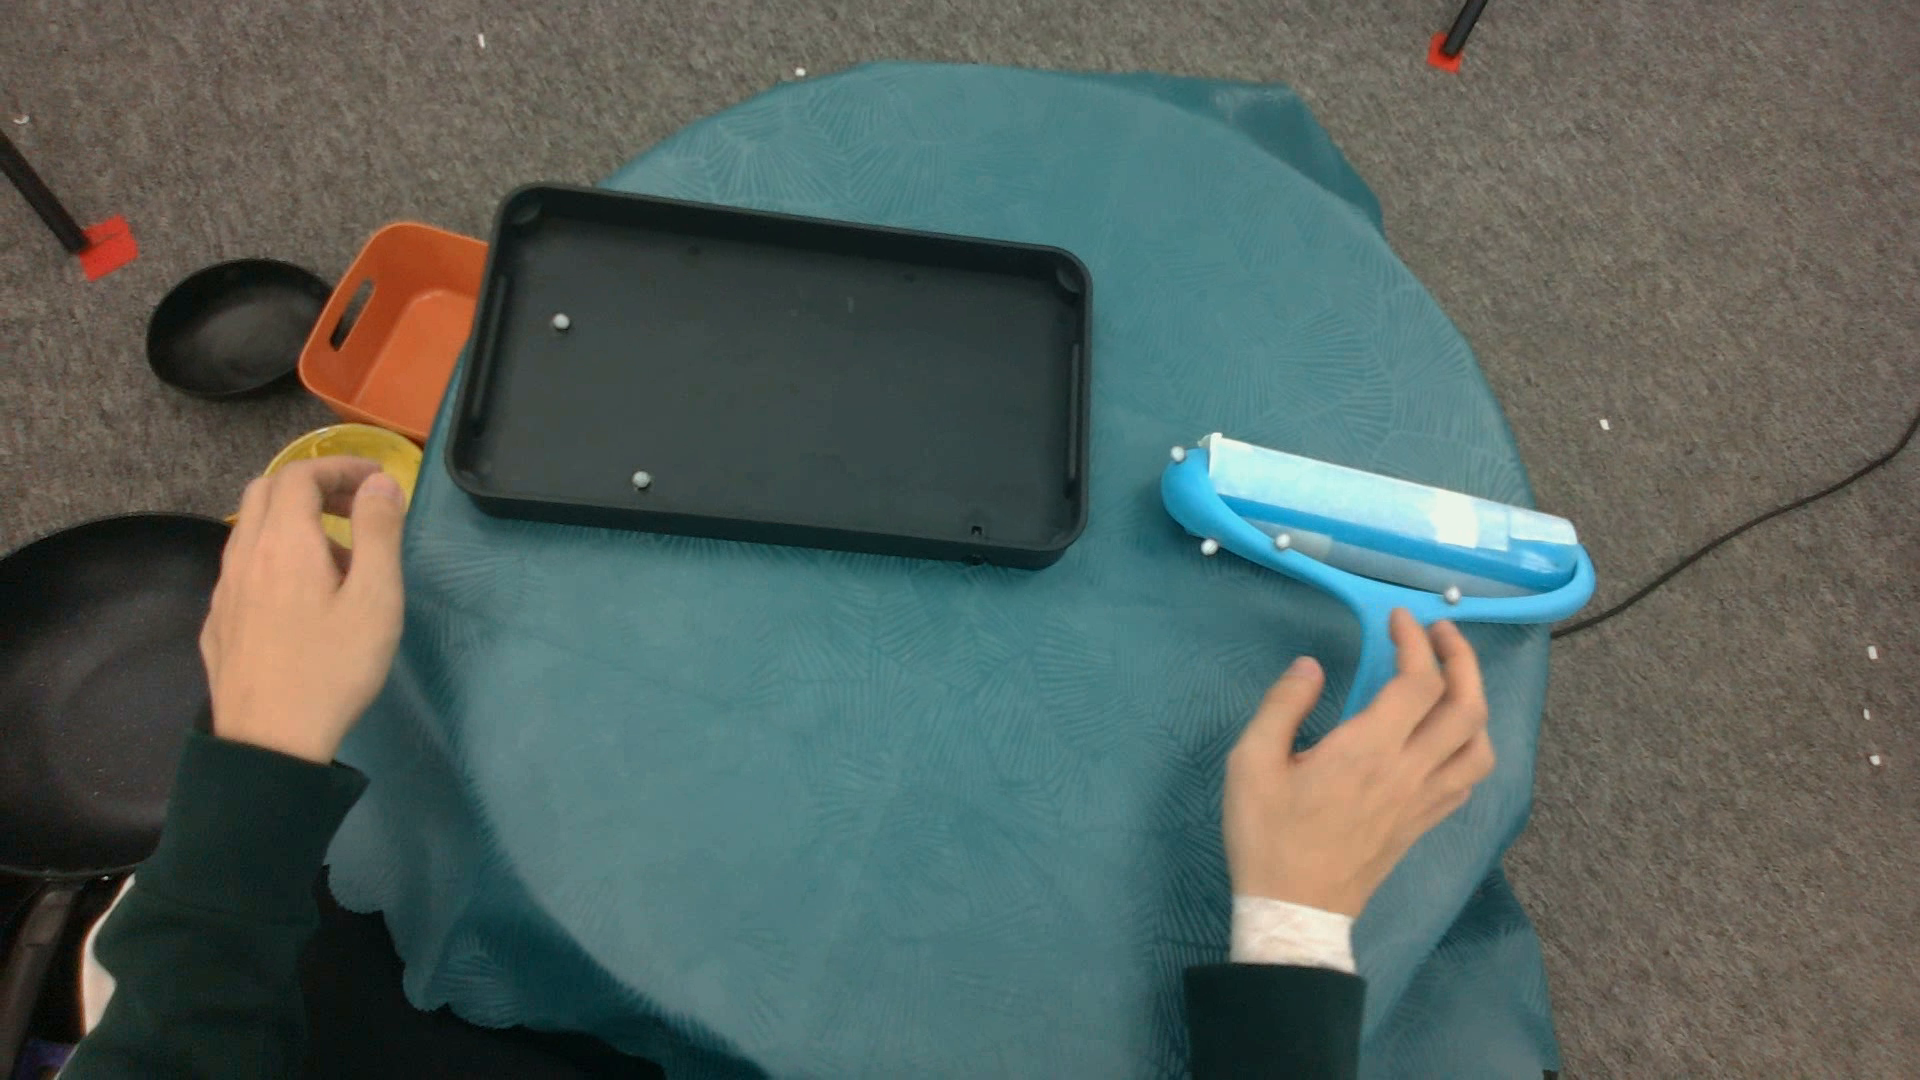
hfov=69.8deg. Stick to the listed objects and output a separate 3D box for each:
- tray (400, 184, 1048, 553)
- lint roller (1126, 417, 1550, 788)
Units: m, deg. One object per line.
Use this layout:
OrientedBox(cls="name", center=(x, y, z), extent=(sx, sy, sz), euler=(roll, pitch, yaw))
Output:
OrientedBox(cls="tray", center=(-0.114, -0.088, 0.723), extent=(0.318, 0.037, 0.185), euler=(3, 68, -8))
OrientedBox(cls="lint roller", center=(0.194, 0.033, 0.707), extent=(0.229, 0.067, 0.181), euler=(10, 66, -7))
